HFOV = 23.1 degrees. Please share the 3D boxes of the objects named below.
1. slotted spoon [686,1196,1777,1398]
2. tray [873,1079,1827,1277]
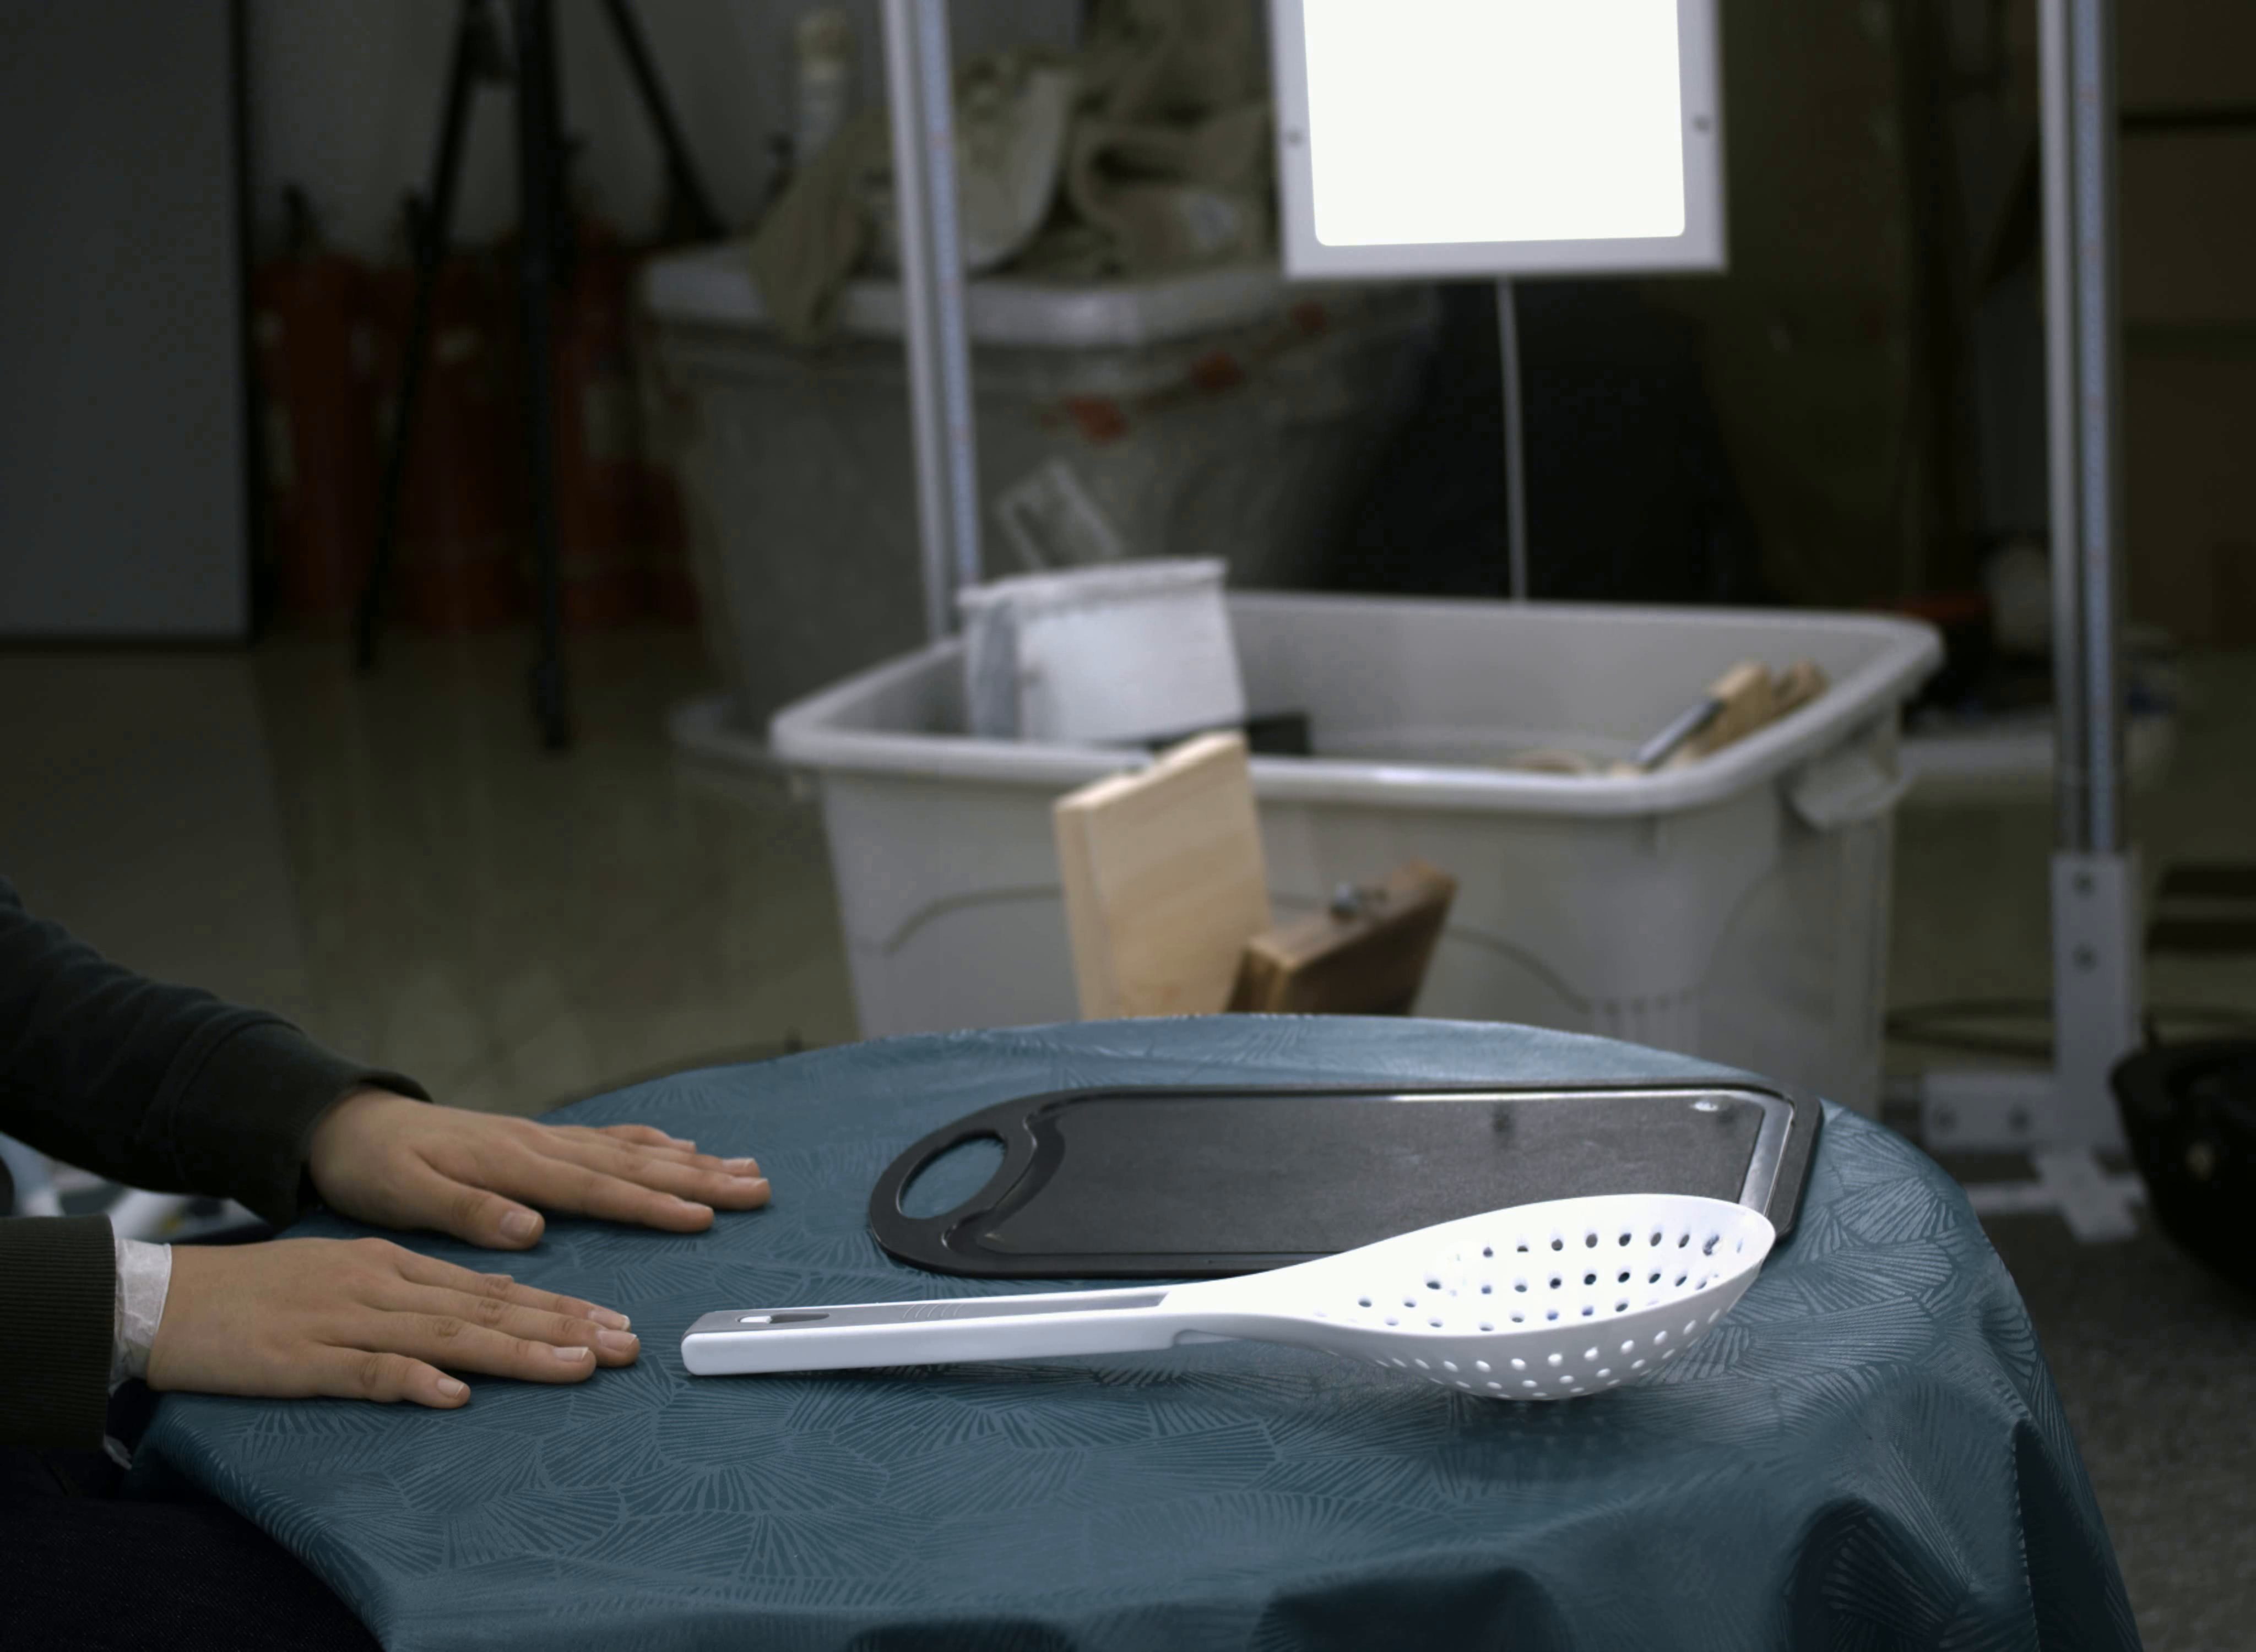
[{"bbox_3d":[0.028,0.149,1.699,0.354,0.046,0.134,-1,12,19],"label":"slotted spoon"},{"bbox_3d":[0.074,0.118,1.891,0.328,0.010,0.208,-2,14,14],"label":"tray"}]
